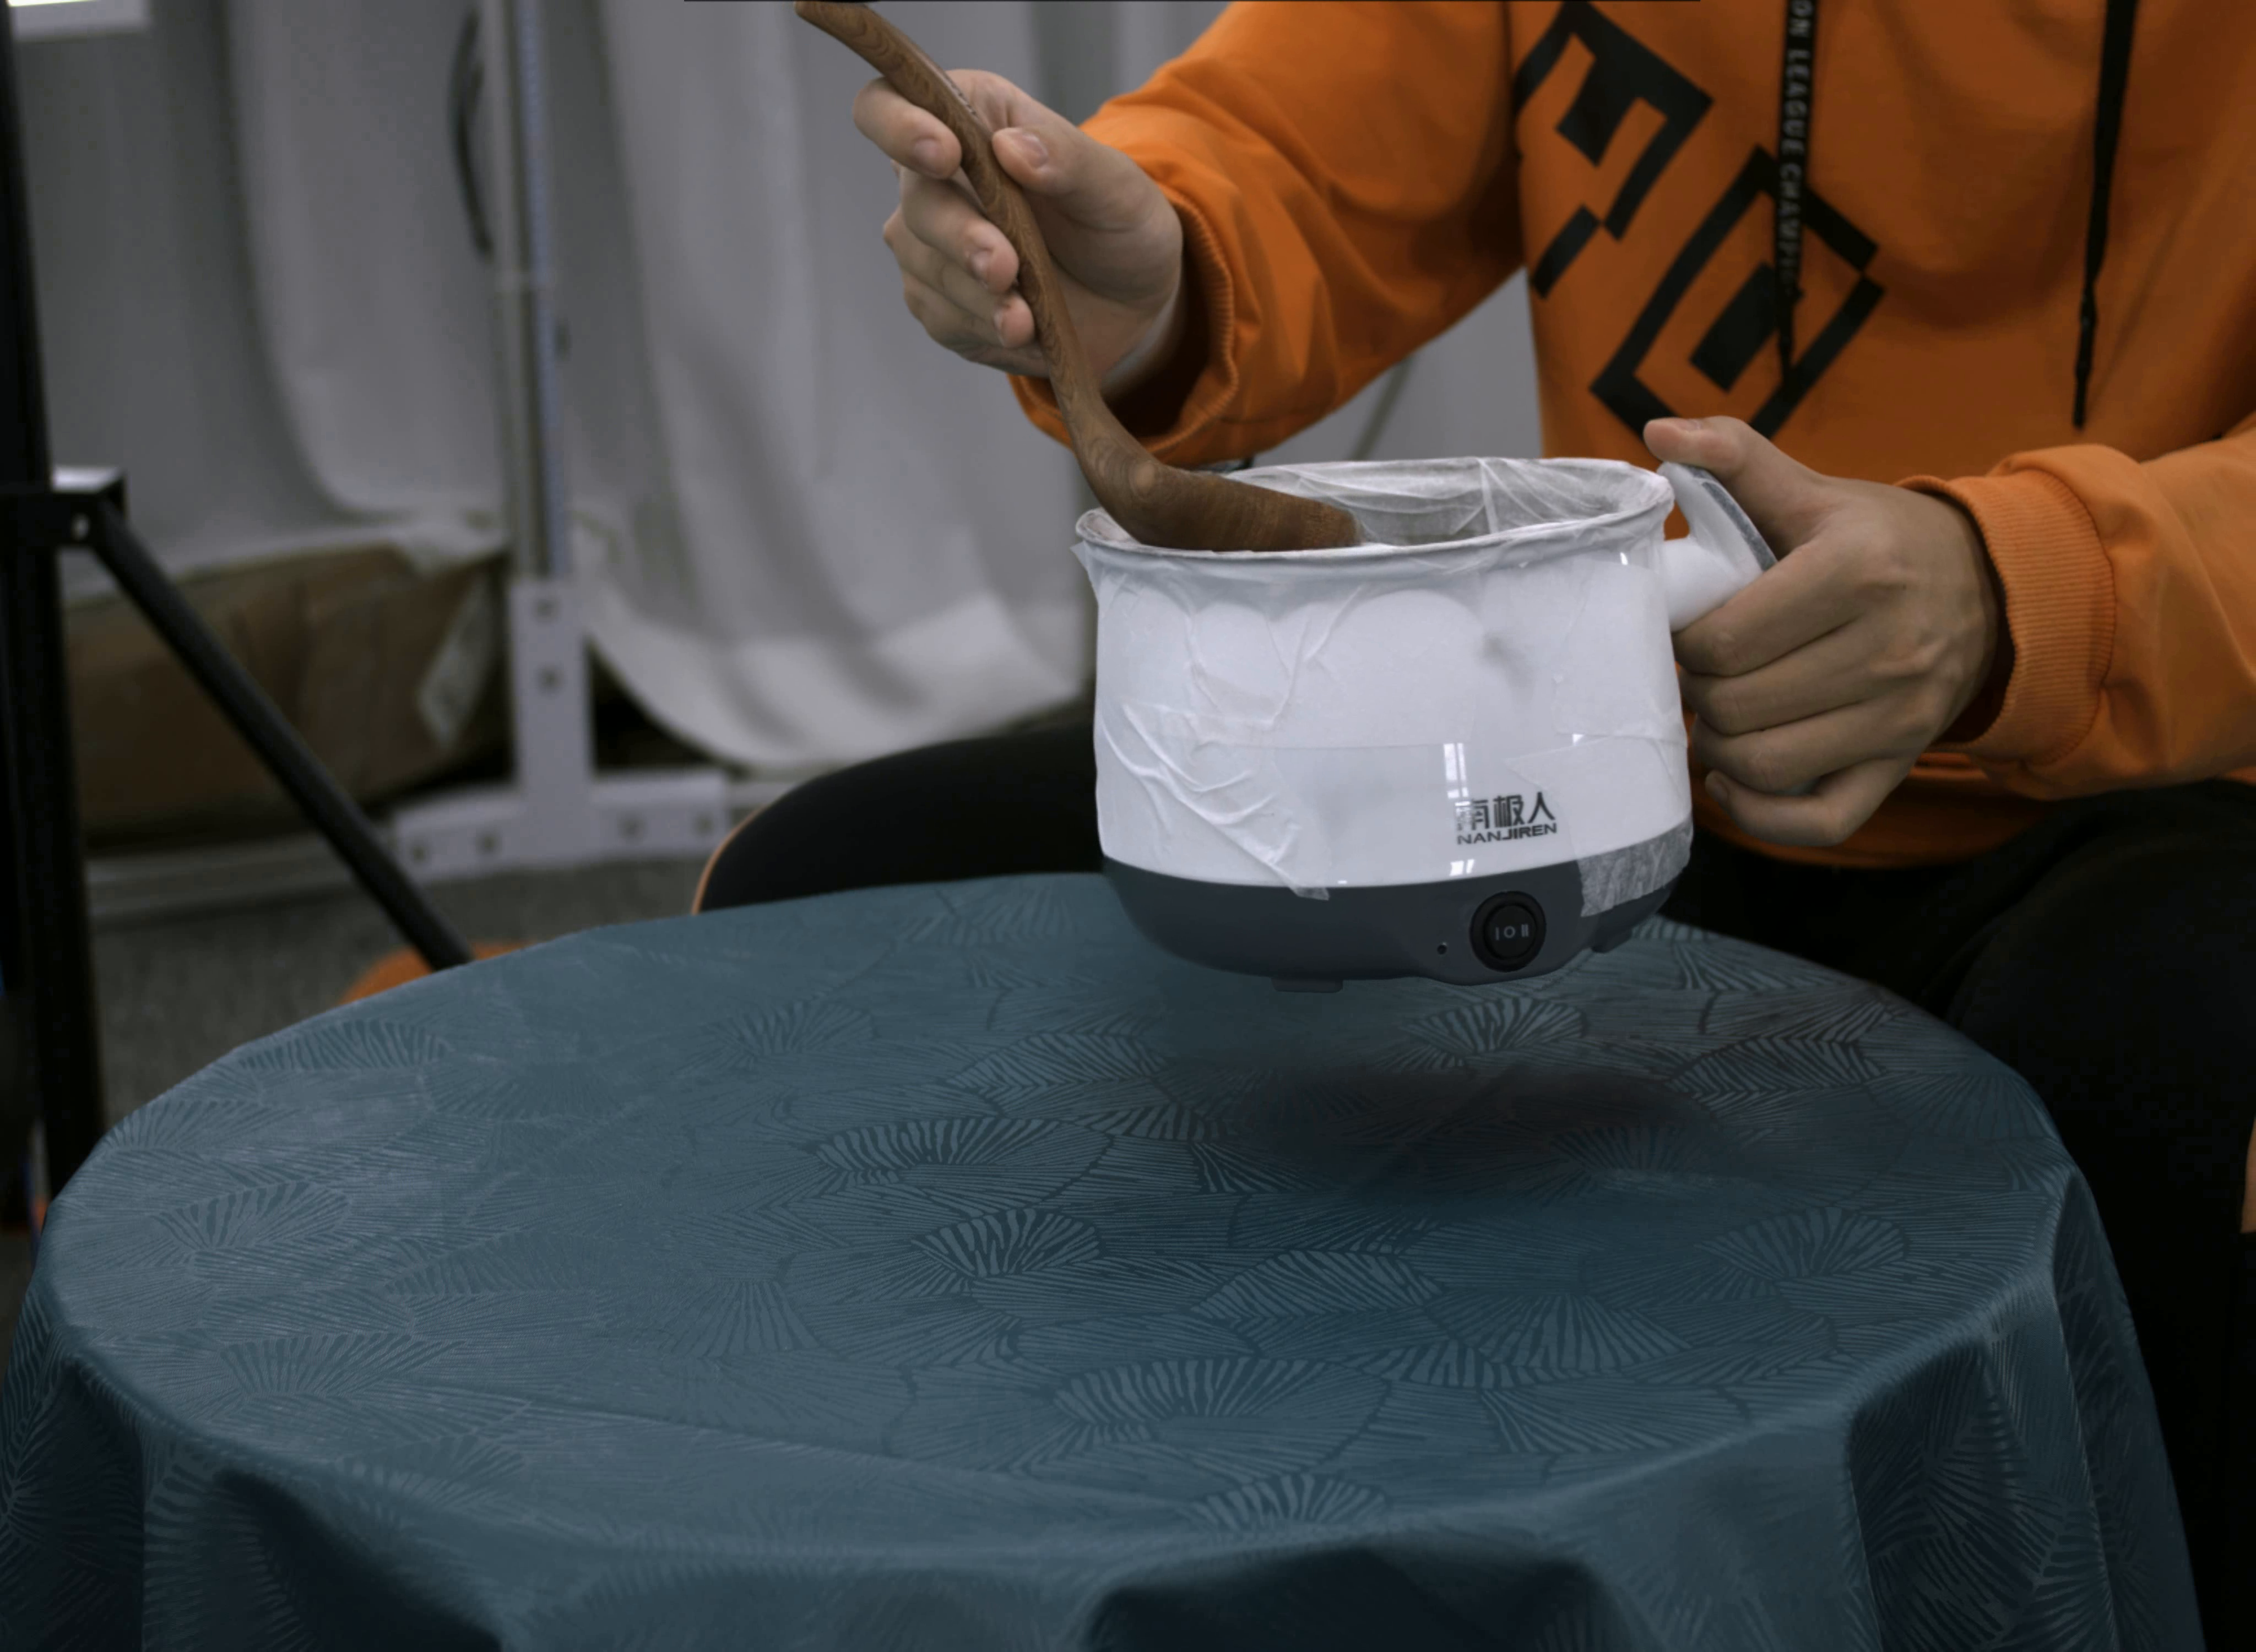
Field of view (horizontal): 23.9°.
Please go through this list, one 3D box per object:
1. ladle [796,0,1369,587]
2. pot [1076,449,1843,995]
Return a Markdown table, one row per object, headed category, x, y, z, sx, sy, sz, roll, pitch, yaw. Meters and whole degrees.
| category | x | y | z | sx | sy | sz | roll | pitch | yaw |
| --- | --- | --- | --- | --- | --- | --- | --- | --- | --- |
| ladle | -0.015 | -0.167 | 1.571 | 0.065 | 0.264 | 0.075 | -35 | -23 | 11 |
| pot | 0.103 | -0.036 | 1.586 | 0.229 | 0.137 | 0.181 | -8 | 12 | -18 |
